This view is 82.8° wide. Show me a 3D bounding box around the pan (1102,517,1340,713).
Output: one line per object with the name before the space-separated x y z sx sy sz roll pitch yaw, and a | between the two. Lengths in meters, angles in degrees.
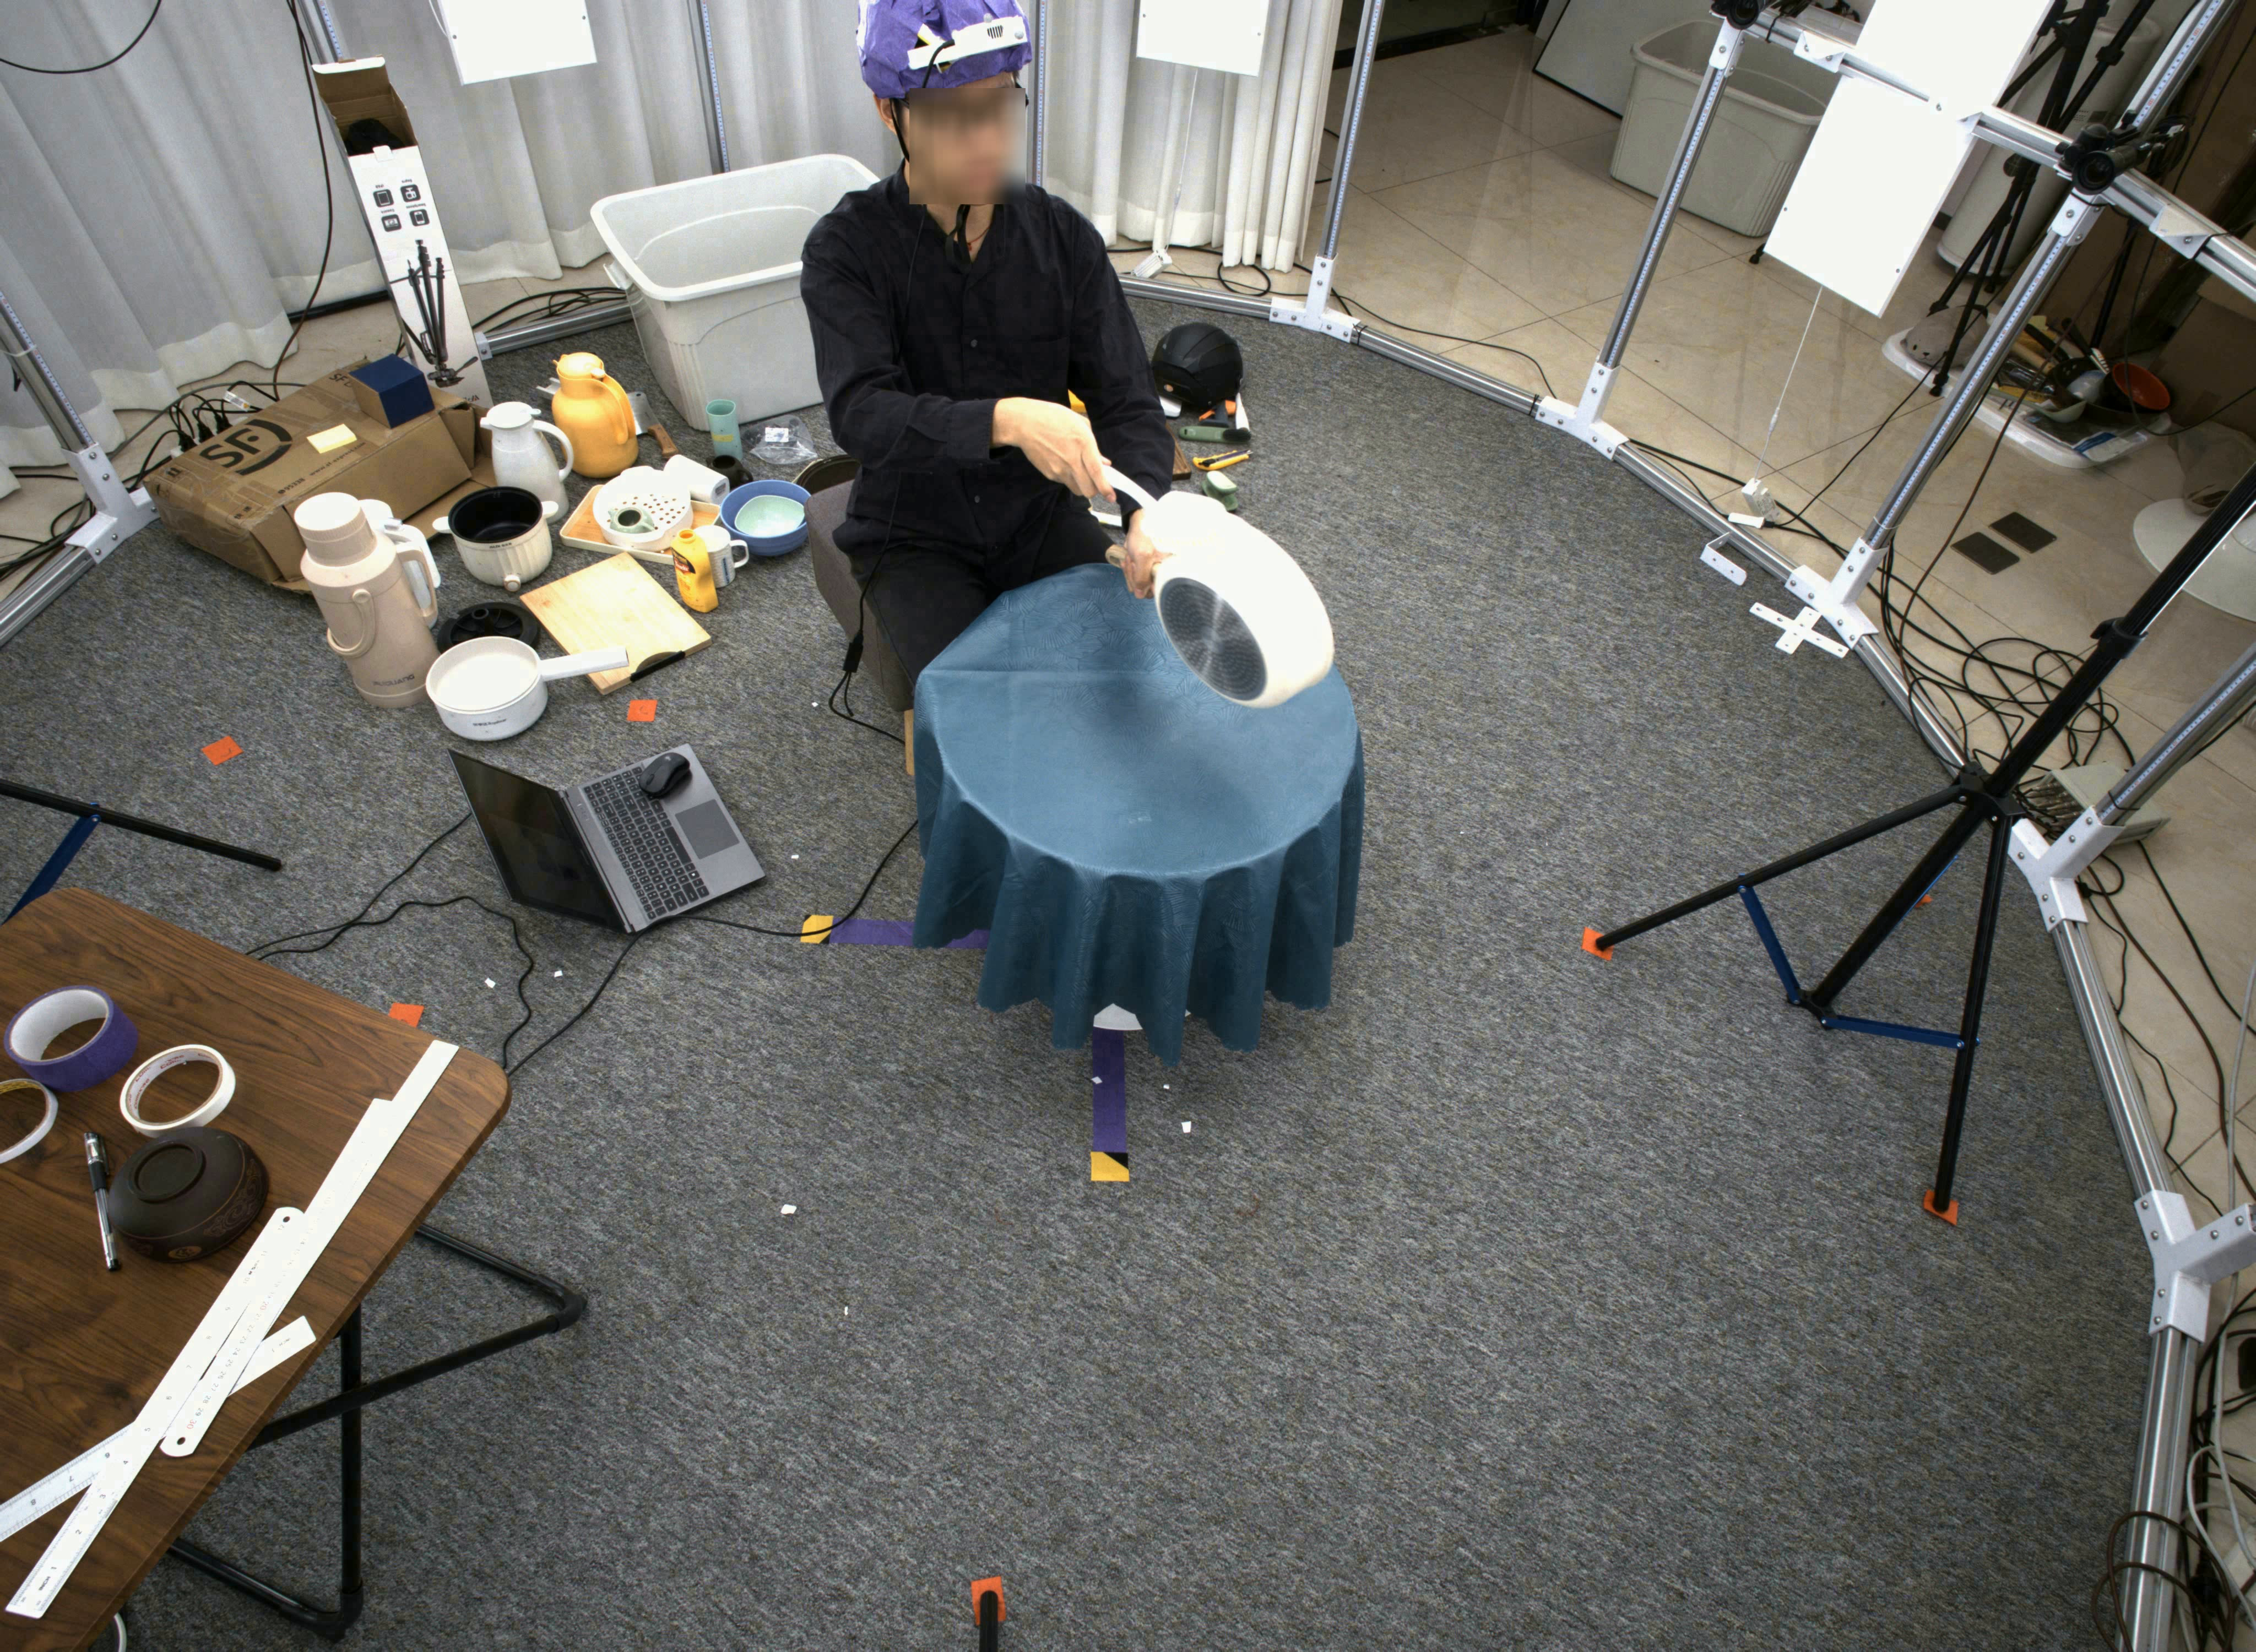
pan | 0.083 -0.283 1.653 0.103 0.257 0.441 -41 42 -20

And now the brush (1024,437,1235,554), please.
brush | 0.003 -0.400 1.572 0.330 0.083 0.083 29 36 34
